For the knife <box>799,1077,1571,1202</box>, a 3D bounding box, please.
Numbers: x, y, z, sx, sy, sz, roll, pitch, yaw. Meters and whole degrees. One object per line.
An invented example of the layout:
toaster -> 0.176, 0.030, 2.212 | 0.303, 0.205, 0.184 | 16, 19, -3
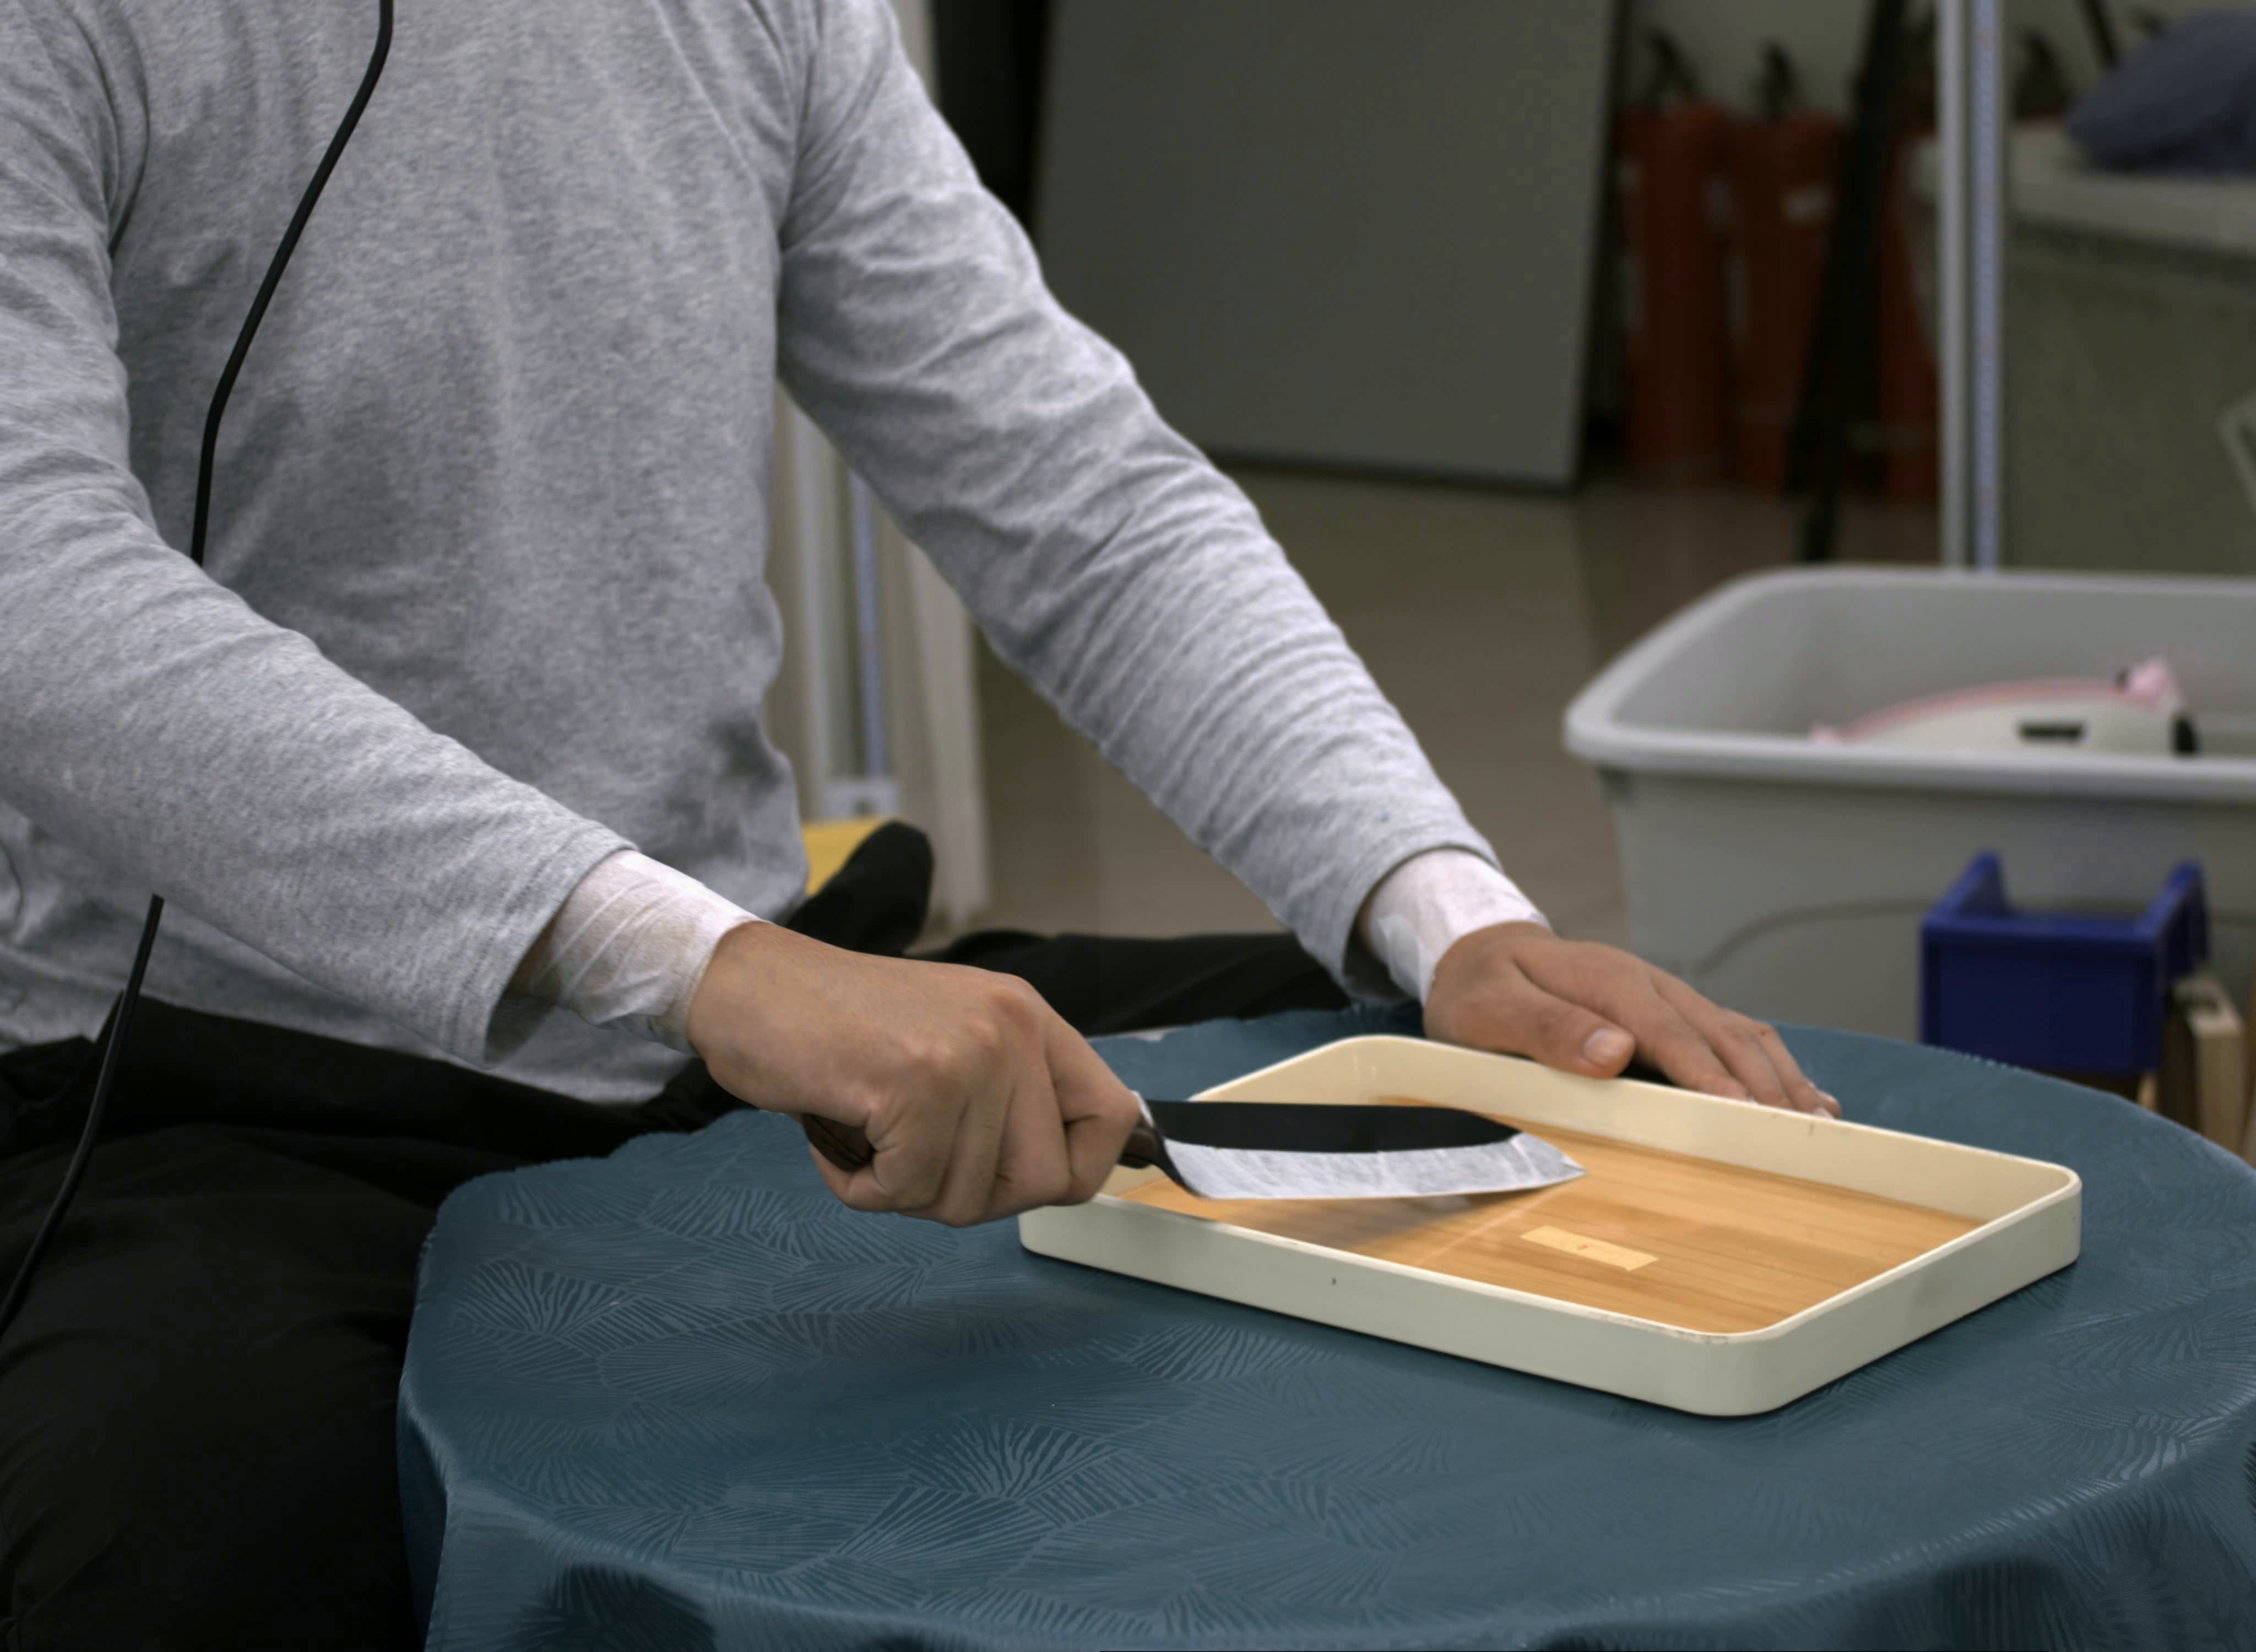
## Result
knife -> 0.025, 0.098, 1.673 | 0.282, 0.020, 0.051 | 5, 39, -32

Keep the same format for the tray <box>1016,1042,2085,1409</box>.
tray -> 0.129, 0.121, 1.683 | 0.303, 0.028, 0.188 | 9, 18, 43
